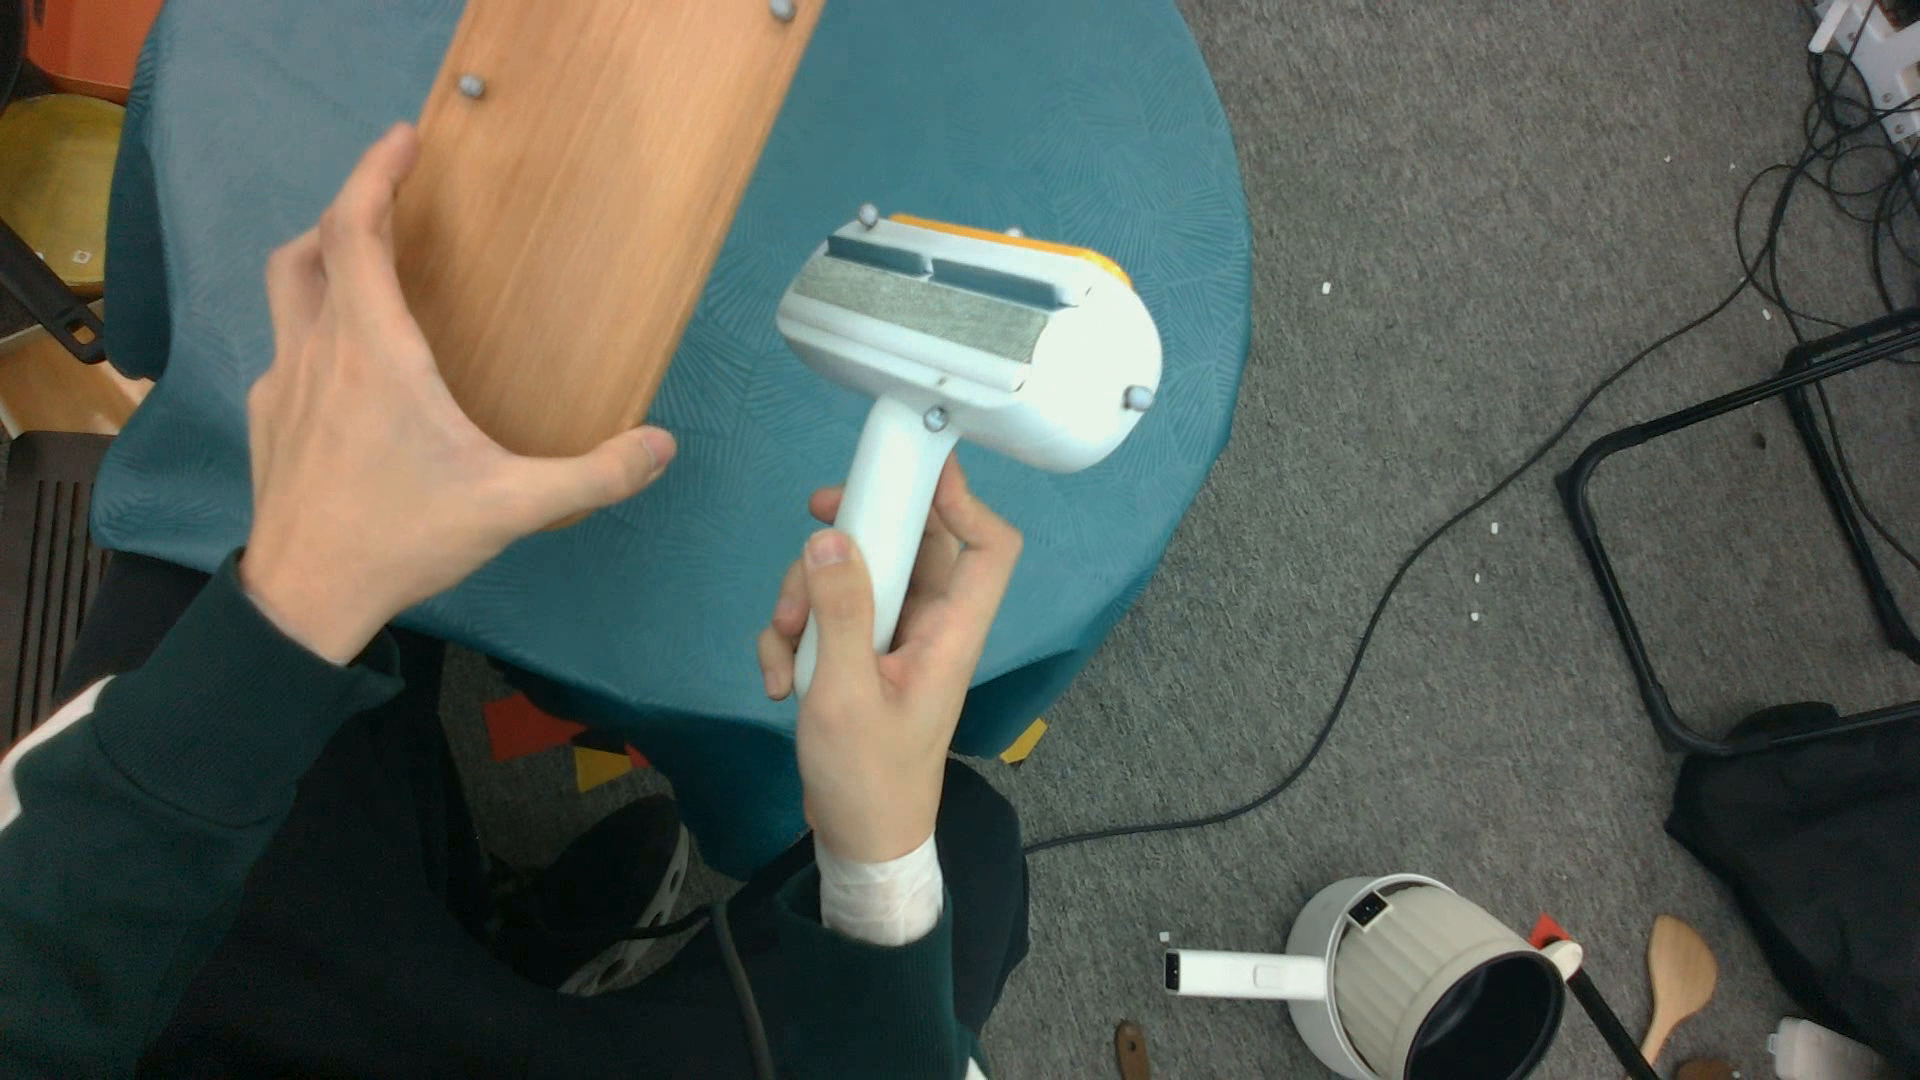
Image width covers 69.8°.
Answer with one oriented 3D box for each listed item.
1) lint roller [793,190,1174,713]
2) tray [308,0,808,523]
[{"bbox_3d":[-0.016,-0.025,0.516,0.074,0.193,0.192,14,103,-41],"label":"lint roller"},{"bbox_3d":[-0.143,-0.136,0.496,0.130,0.023,0.250,27,96,16],"label":"tray"}]
